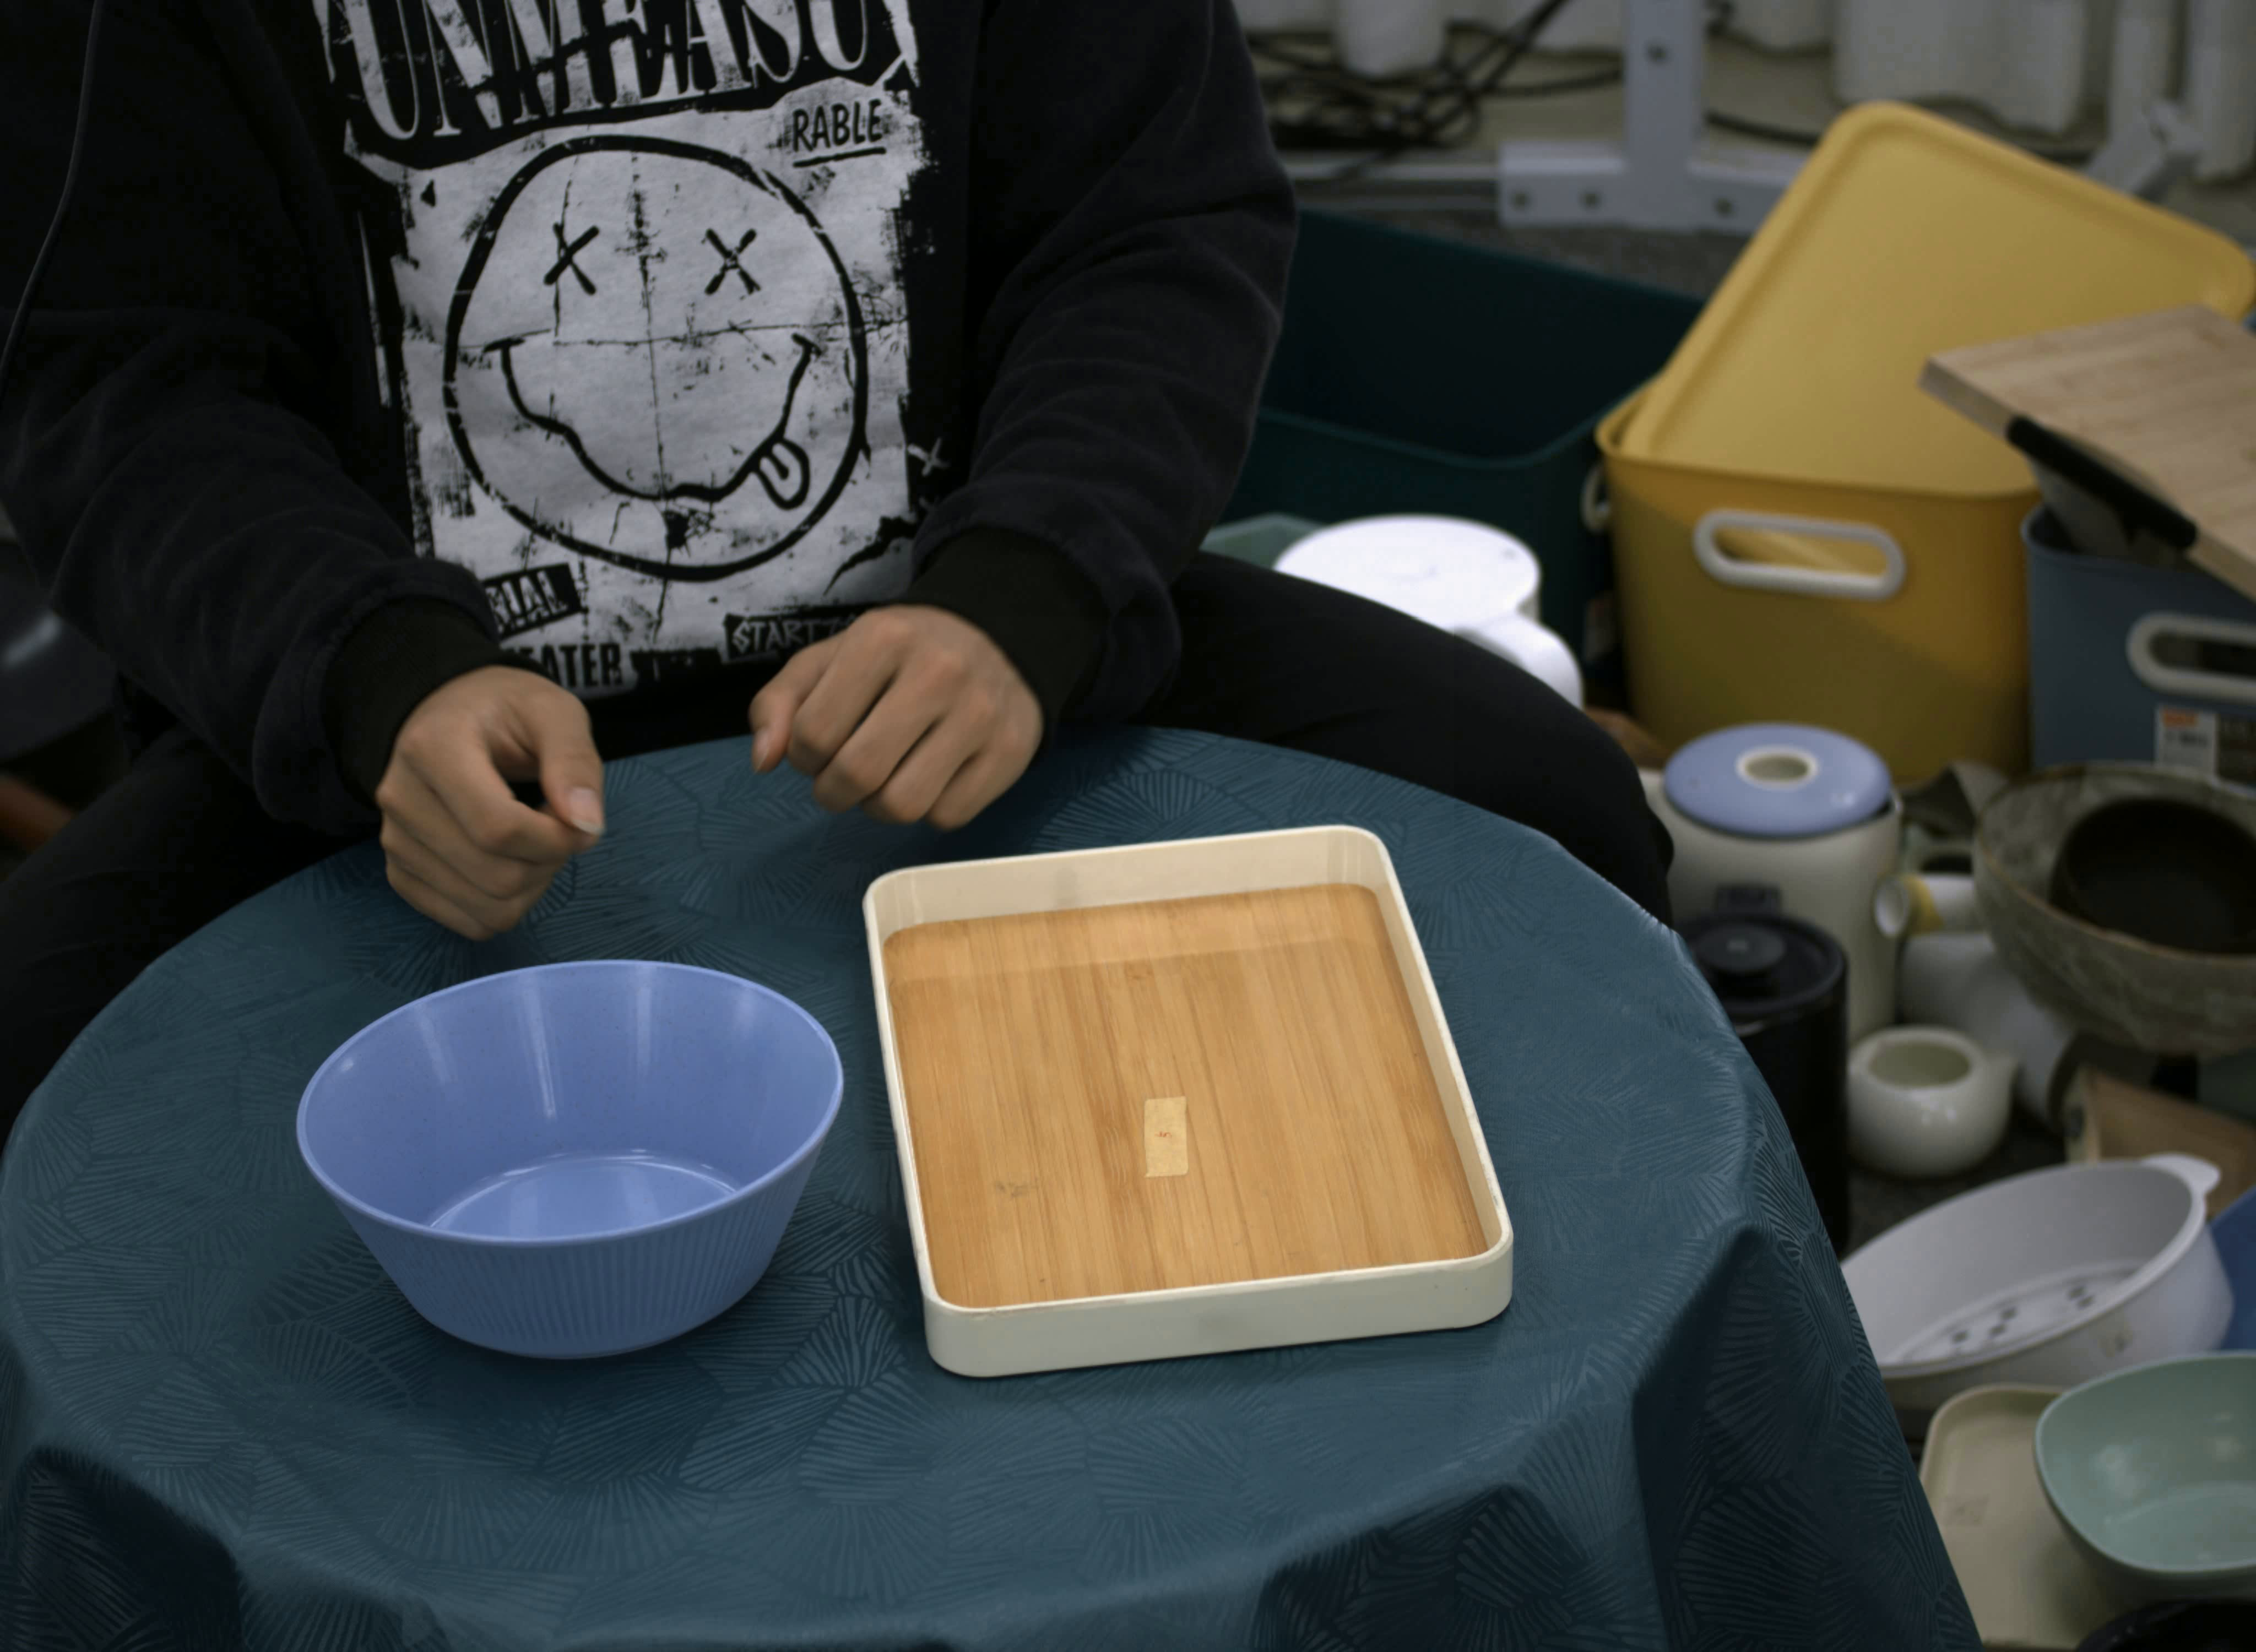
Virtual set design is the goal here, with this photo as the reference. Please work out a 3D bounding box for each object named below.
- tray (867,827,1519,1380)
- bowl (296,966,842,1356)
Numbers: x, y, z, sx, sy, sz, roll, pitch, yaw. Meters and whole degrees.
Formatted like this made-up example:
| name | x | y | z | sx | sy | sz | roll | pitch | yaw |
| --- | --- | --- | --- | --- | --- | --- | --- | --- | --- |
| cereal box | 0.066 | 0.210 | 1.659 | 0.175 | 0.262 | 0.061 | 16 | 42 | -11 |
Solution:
| name | x | y | z | sx | sy | sz | roll | pitch | yaw |
| --- | --- | --- | --- | --- | --- | --- | --- | --- | --- |
| tray | 0.016 | 0.088 | 1.897 | 0.191 | 0.027 | 0.304 | -6 | 28 | -4 |
| bowl | -0.178 | 0.115 | 1.816 | 0.175 | 0.069 | 0.179 | -1 | 27 | 1 |
